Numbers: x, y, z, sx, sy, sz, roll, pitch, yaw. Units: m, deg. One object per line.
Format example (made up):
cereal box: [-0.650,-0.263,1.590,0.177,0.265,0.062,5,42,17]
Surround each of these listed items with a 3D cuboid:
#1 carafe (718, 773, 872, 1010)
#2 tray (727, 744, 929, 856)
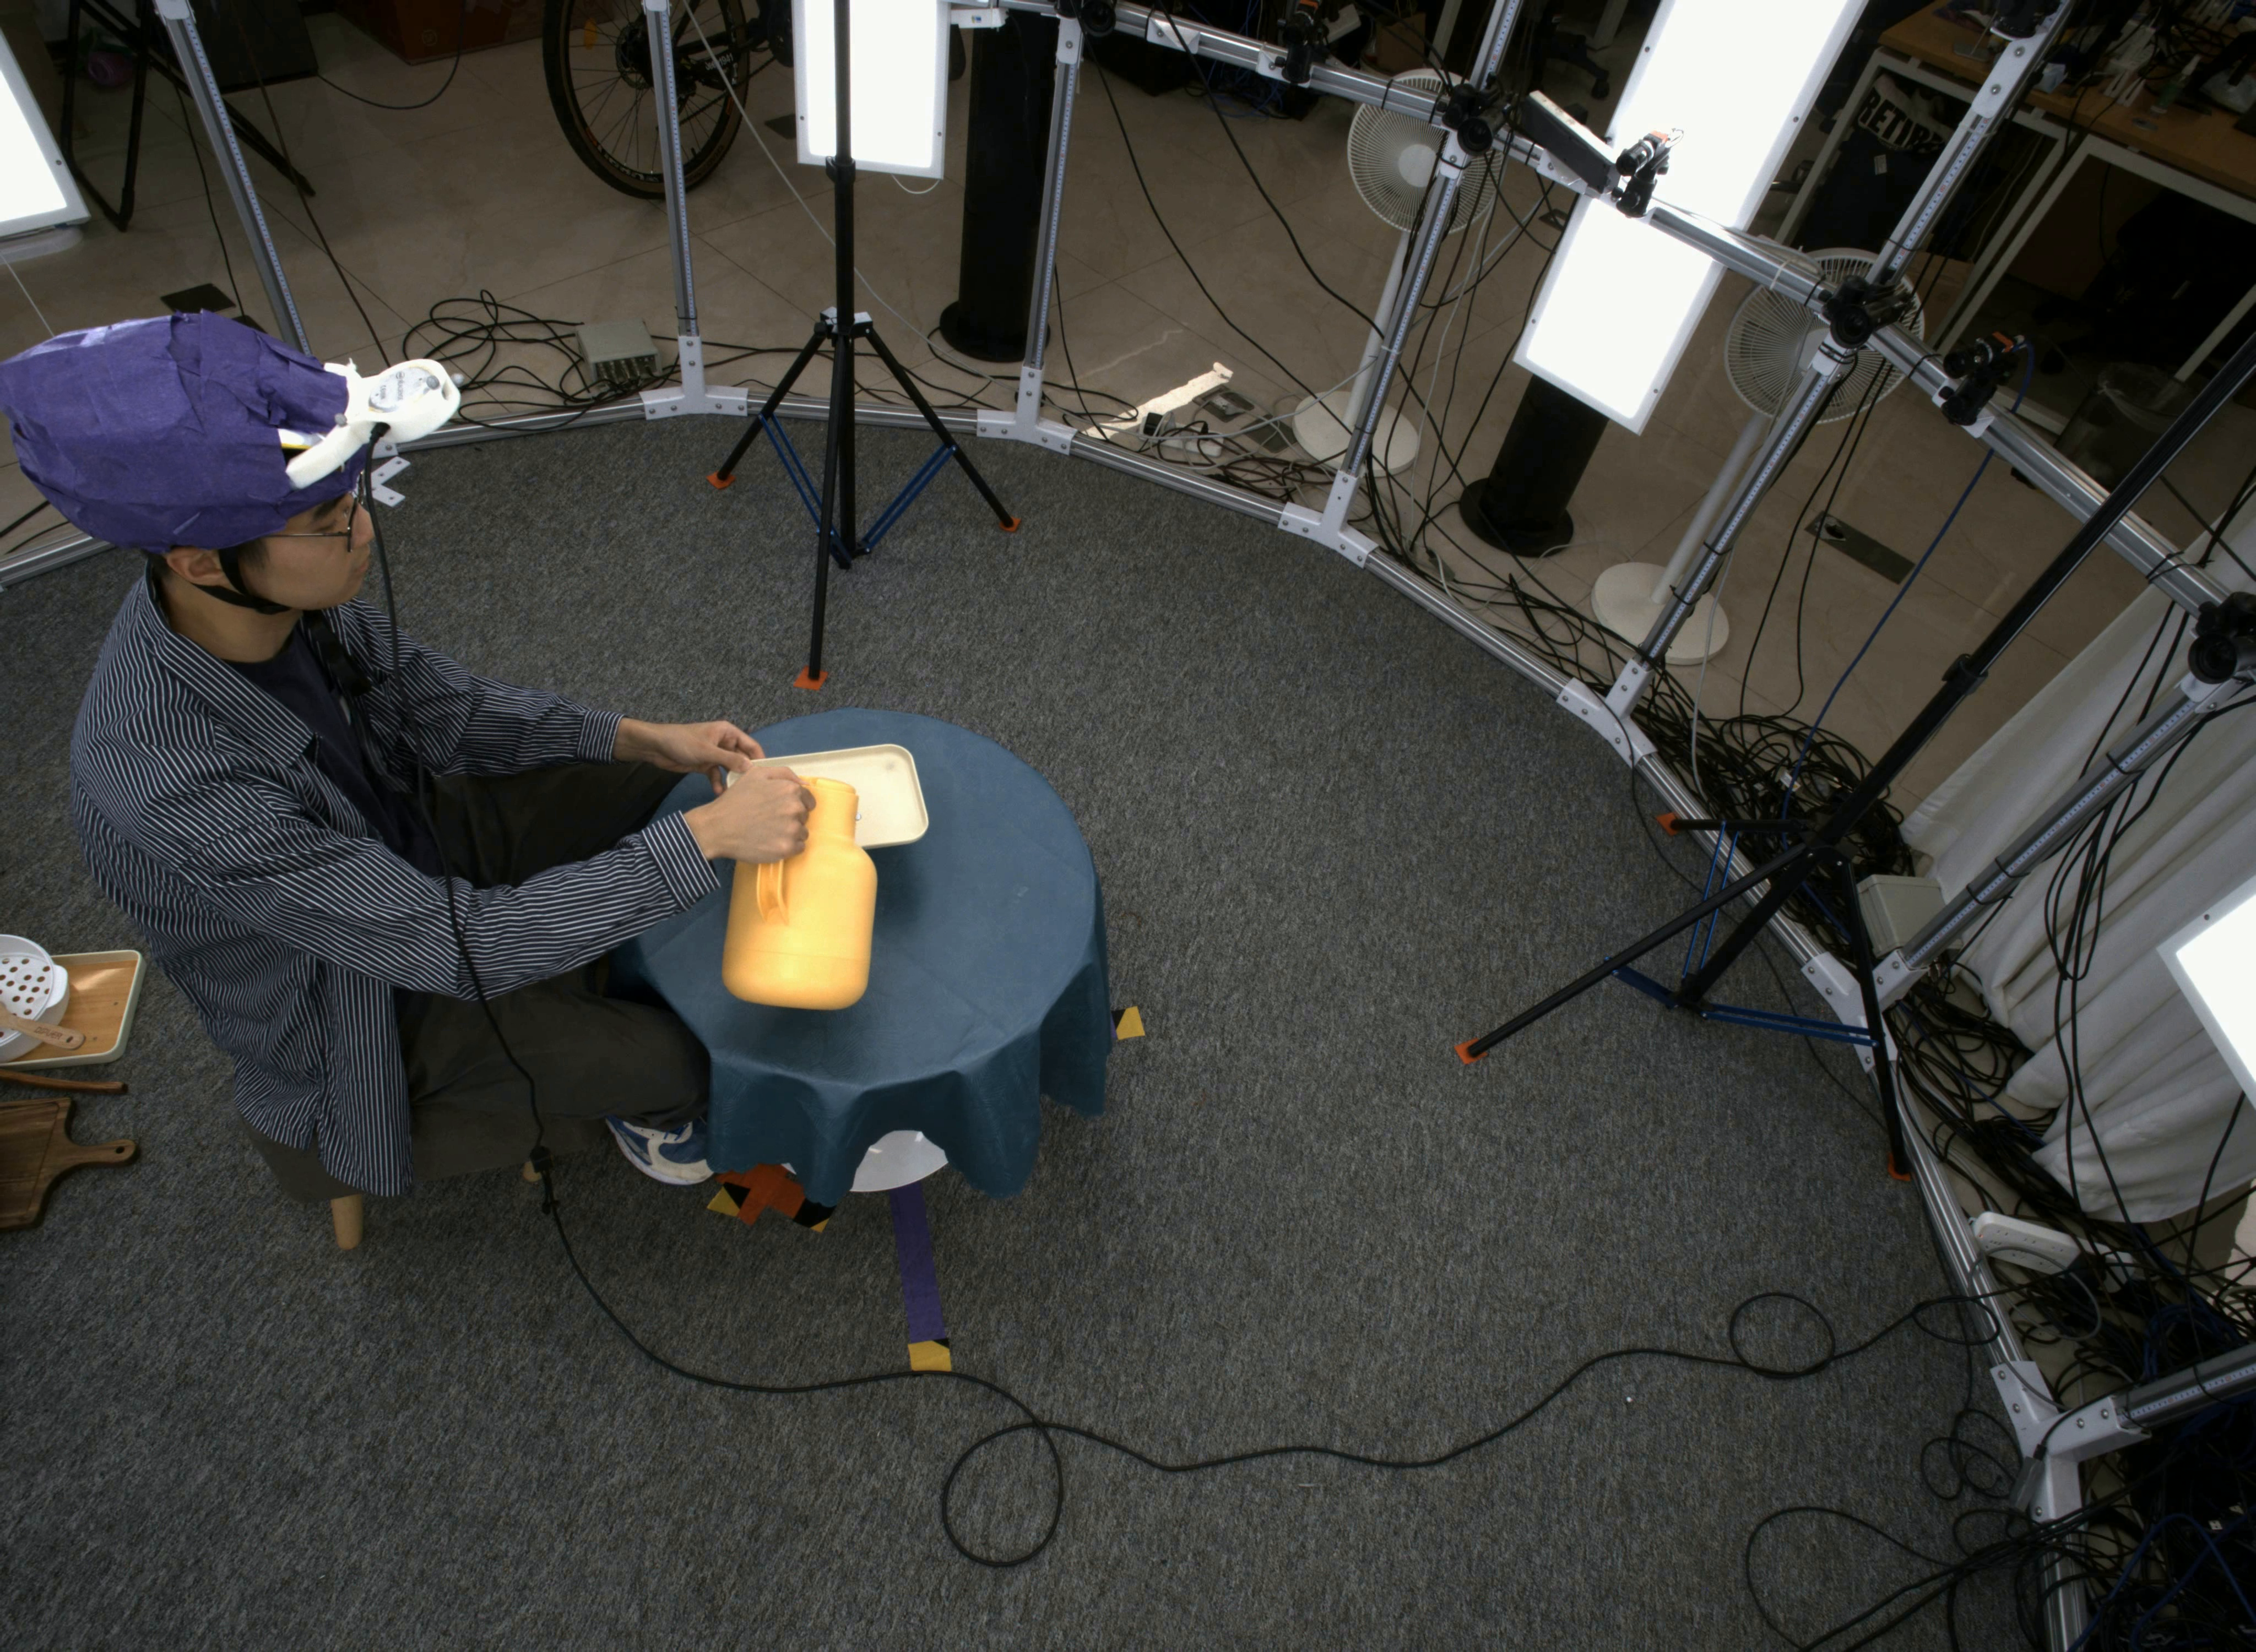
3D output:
carafe: [-0.379,0.071,1.468,0.161,0.203,0.262,4,85,3]
tray: [-0.382,-0.029,1.649,0.240,0.018,0.166,-8,52,-18]
